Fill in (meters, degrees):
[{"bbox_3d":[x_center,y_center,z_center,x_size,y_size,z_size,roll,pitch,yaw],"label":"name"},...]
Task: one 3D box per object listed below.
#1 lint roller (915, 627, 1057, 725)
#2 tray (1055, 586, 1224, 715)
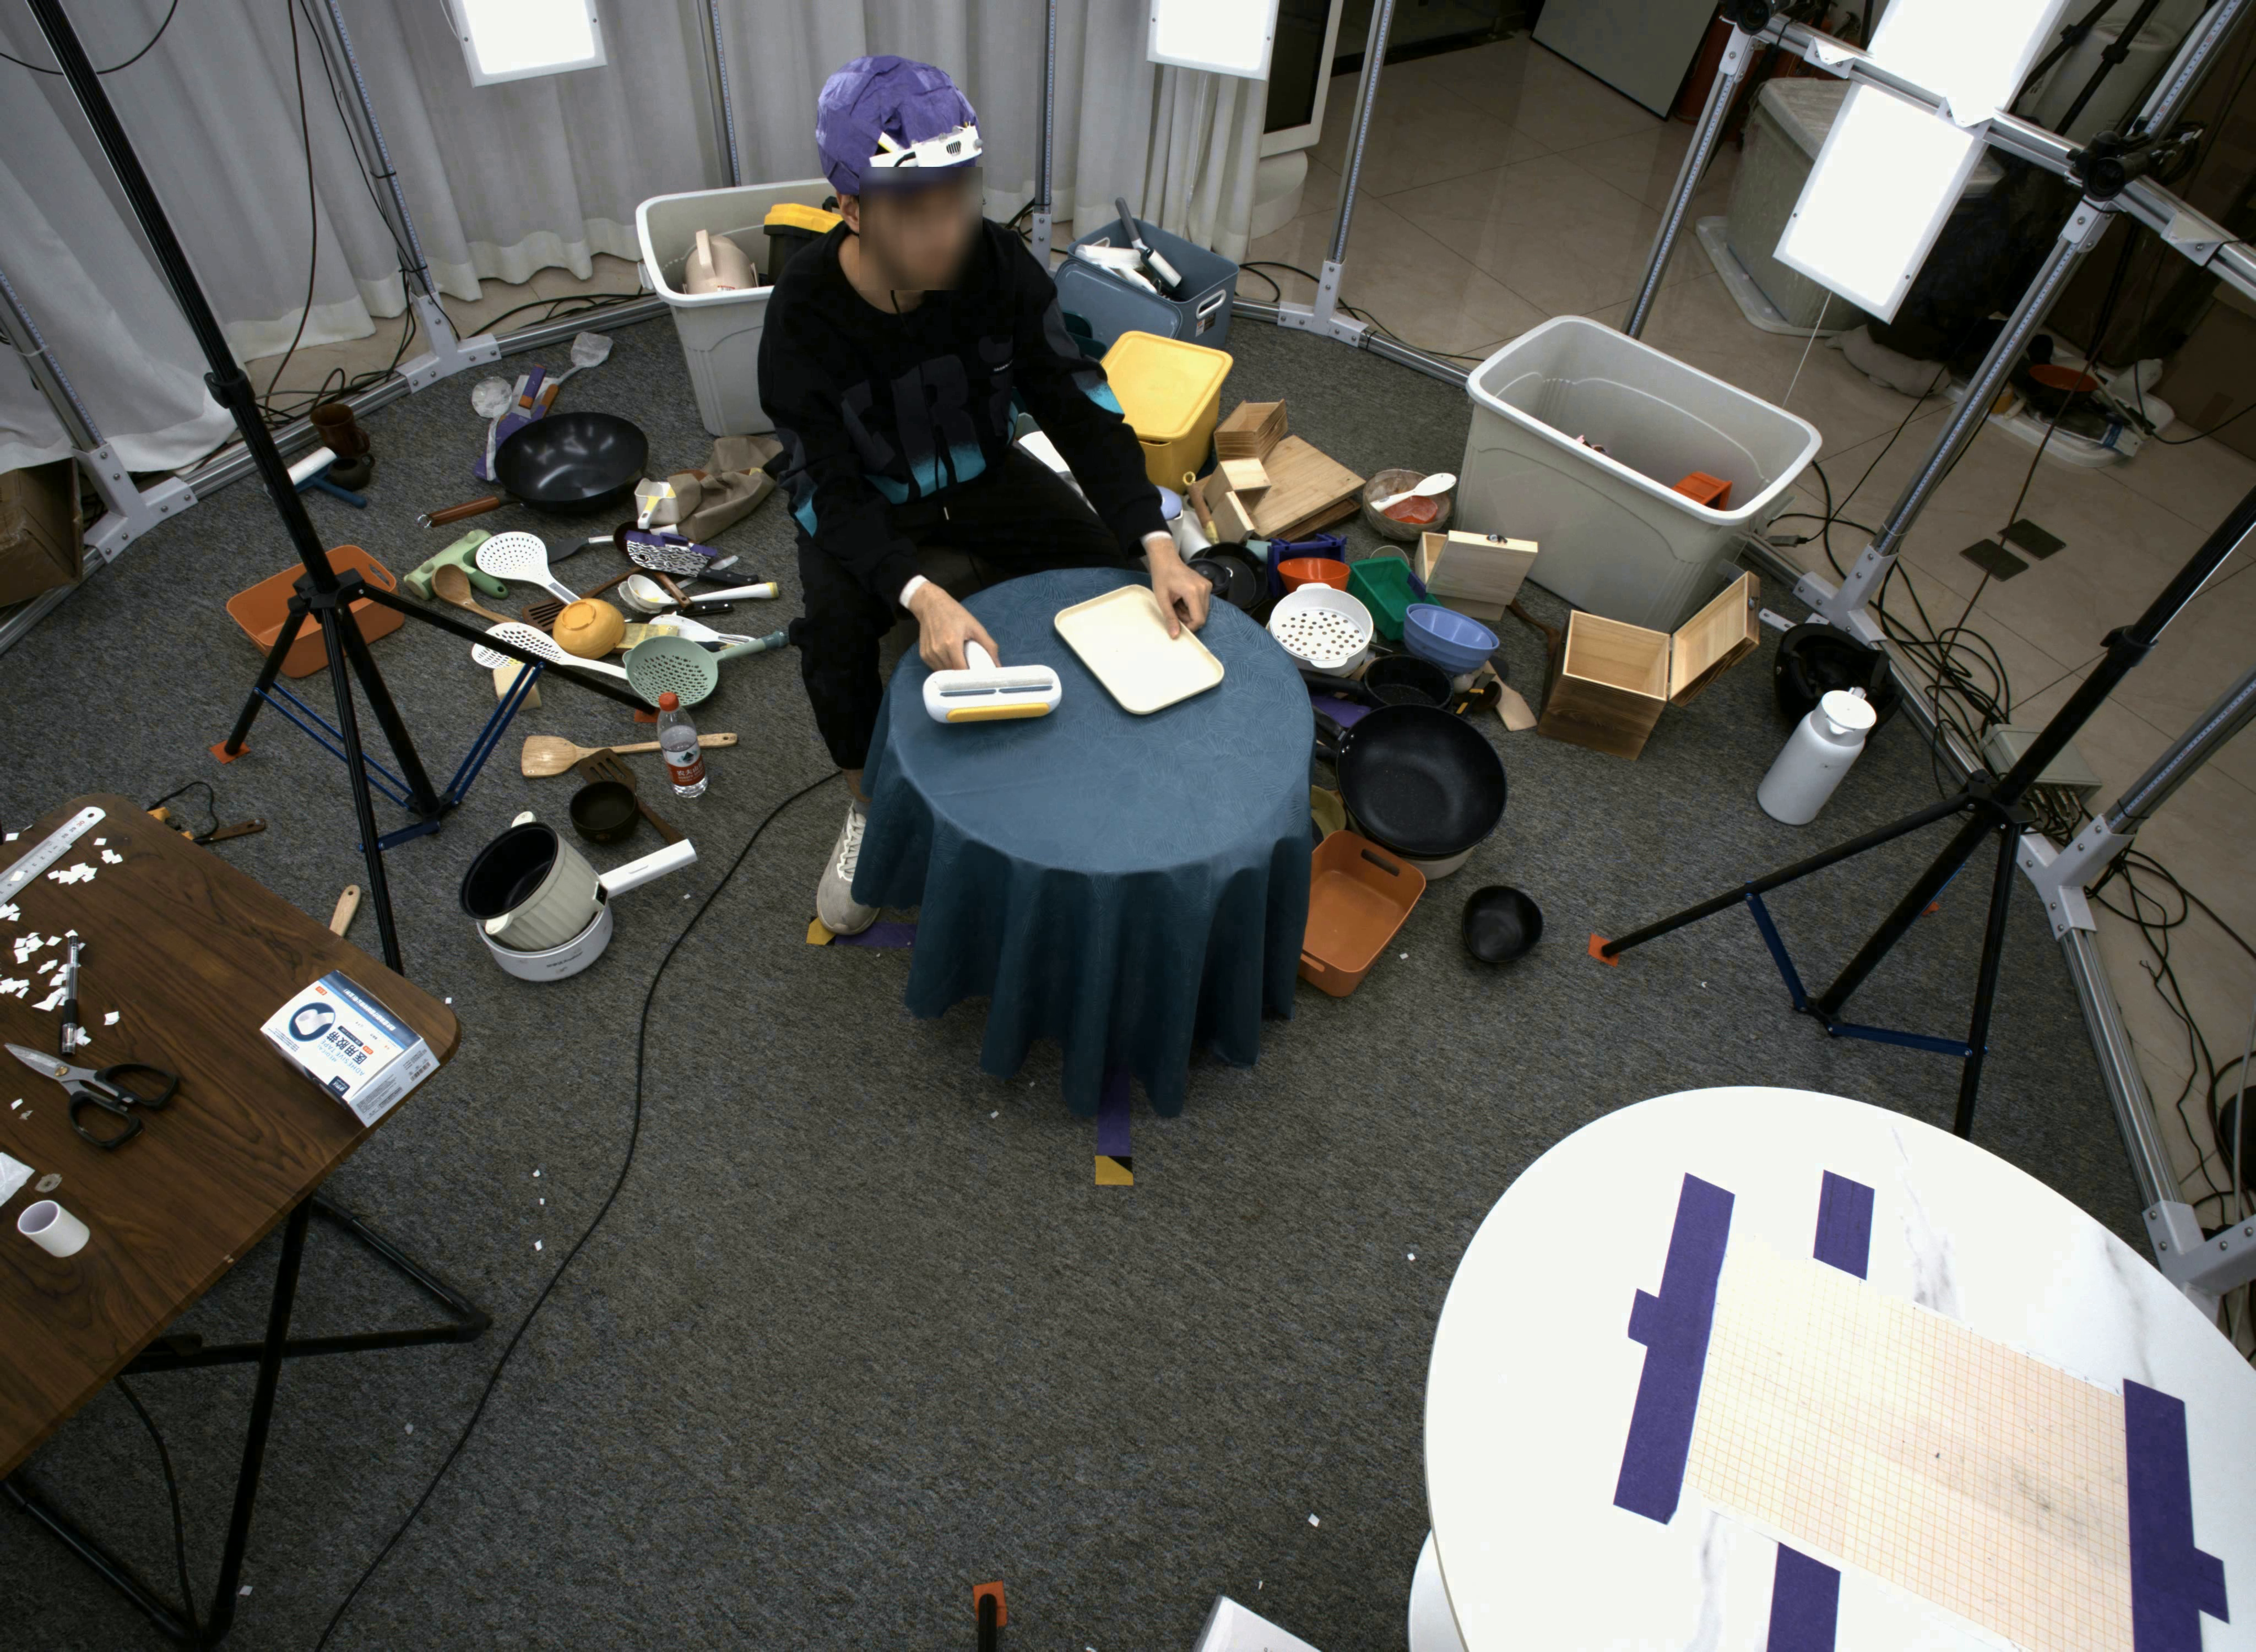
[{"bbox_3d":[-0.208,-0.221,1.798,0.192,0.072,0.197,-6,52,-16],"label":"lint roller"},{"bbox_3d":[0.015,-0.259,1.882,0.172,0.017,0.244,-24,55,-22],"label":"tray"}]
